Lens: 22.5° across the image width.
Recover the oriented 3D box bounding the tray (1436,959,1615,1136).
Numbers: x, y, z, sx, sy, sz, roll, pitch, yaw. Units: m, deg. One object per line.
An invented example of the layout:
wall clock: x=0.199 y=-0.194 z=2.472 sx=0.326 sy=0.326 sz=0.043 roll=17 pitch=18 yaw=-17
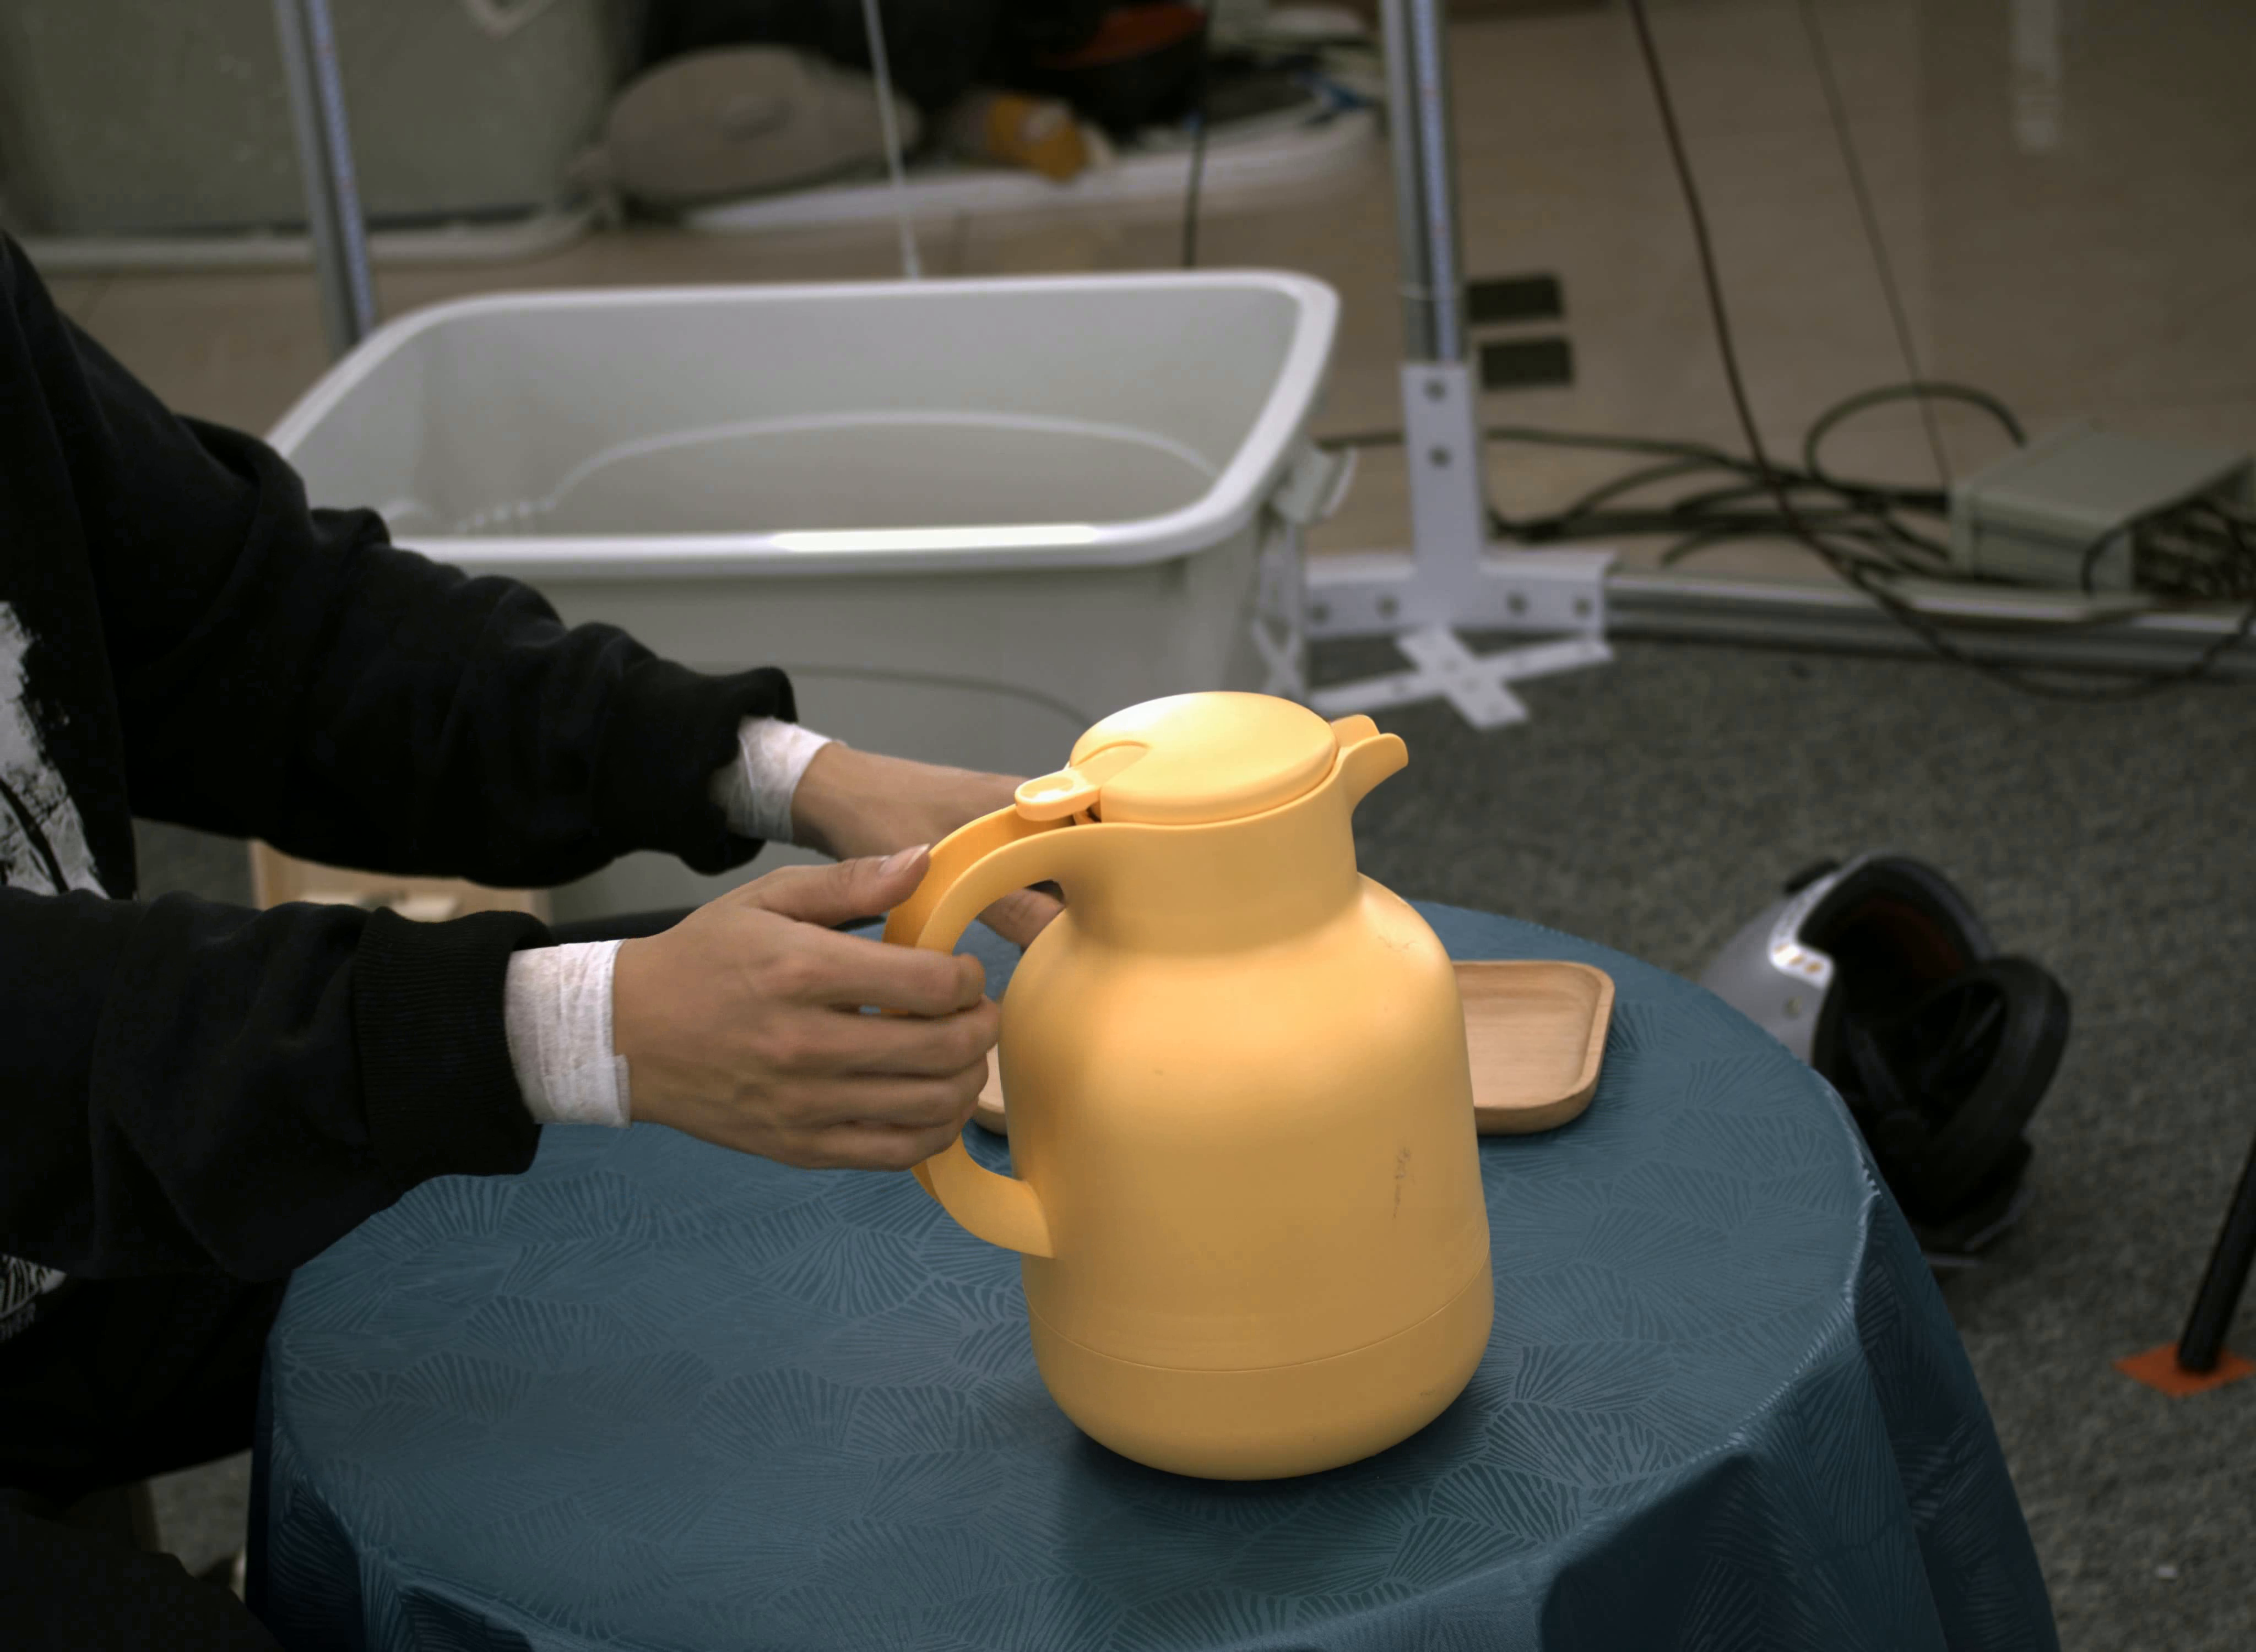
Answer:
tray: x=0.063 y=0.087 z=2.225 sx=0.250 sy=0.023 sz=0.129 roll=-1 pitch=23 yaw=13

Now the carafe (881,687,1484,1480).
carafe: x=0.017 y=0.088 z=1.940 sx=0.201 sy=0.264 sz=0.161 roll=-13 pitch=24 yaw=-18
